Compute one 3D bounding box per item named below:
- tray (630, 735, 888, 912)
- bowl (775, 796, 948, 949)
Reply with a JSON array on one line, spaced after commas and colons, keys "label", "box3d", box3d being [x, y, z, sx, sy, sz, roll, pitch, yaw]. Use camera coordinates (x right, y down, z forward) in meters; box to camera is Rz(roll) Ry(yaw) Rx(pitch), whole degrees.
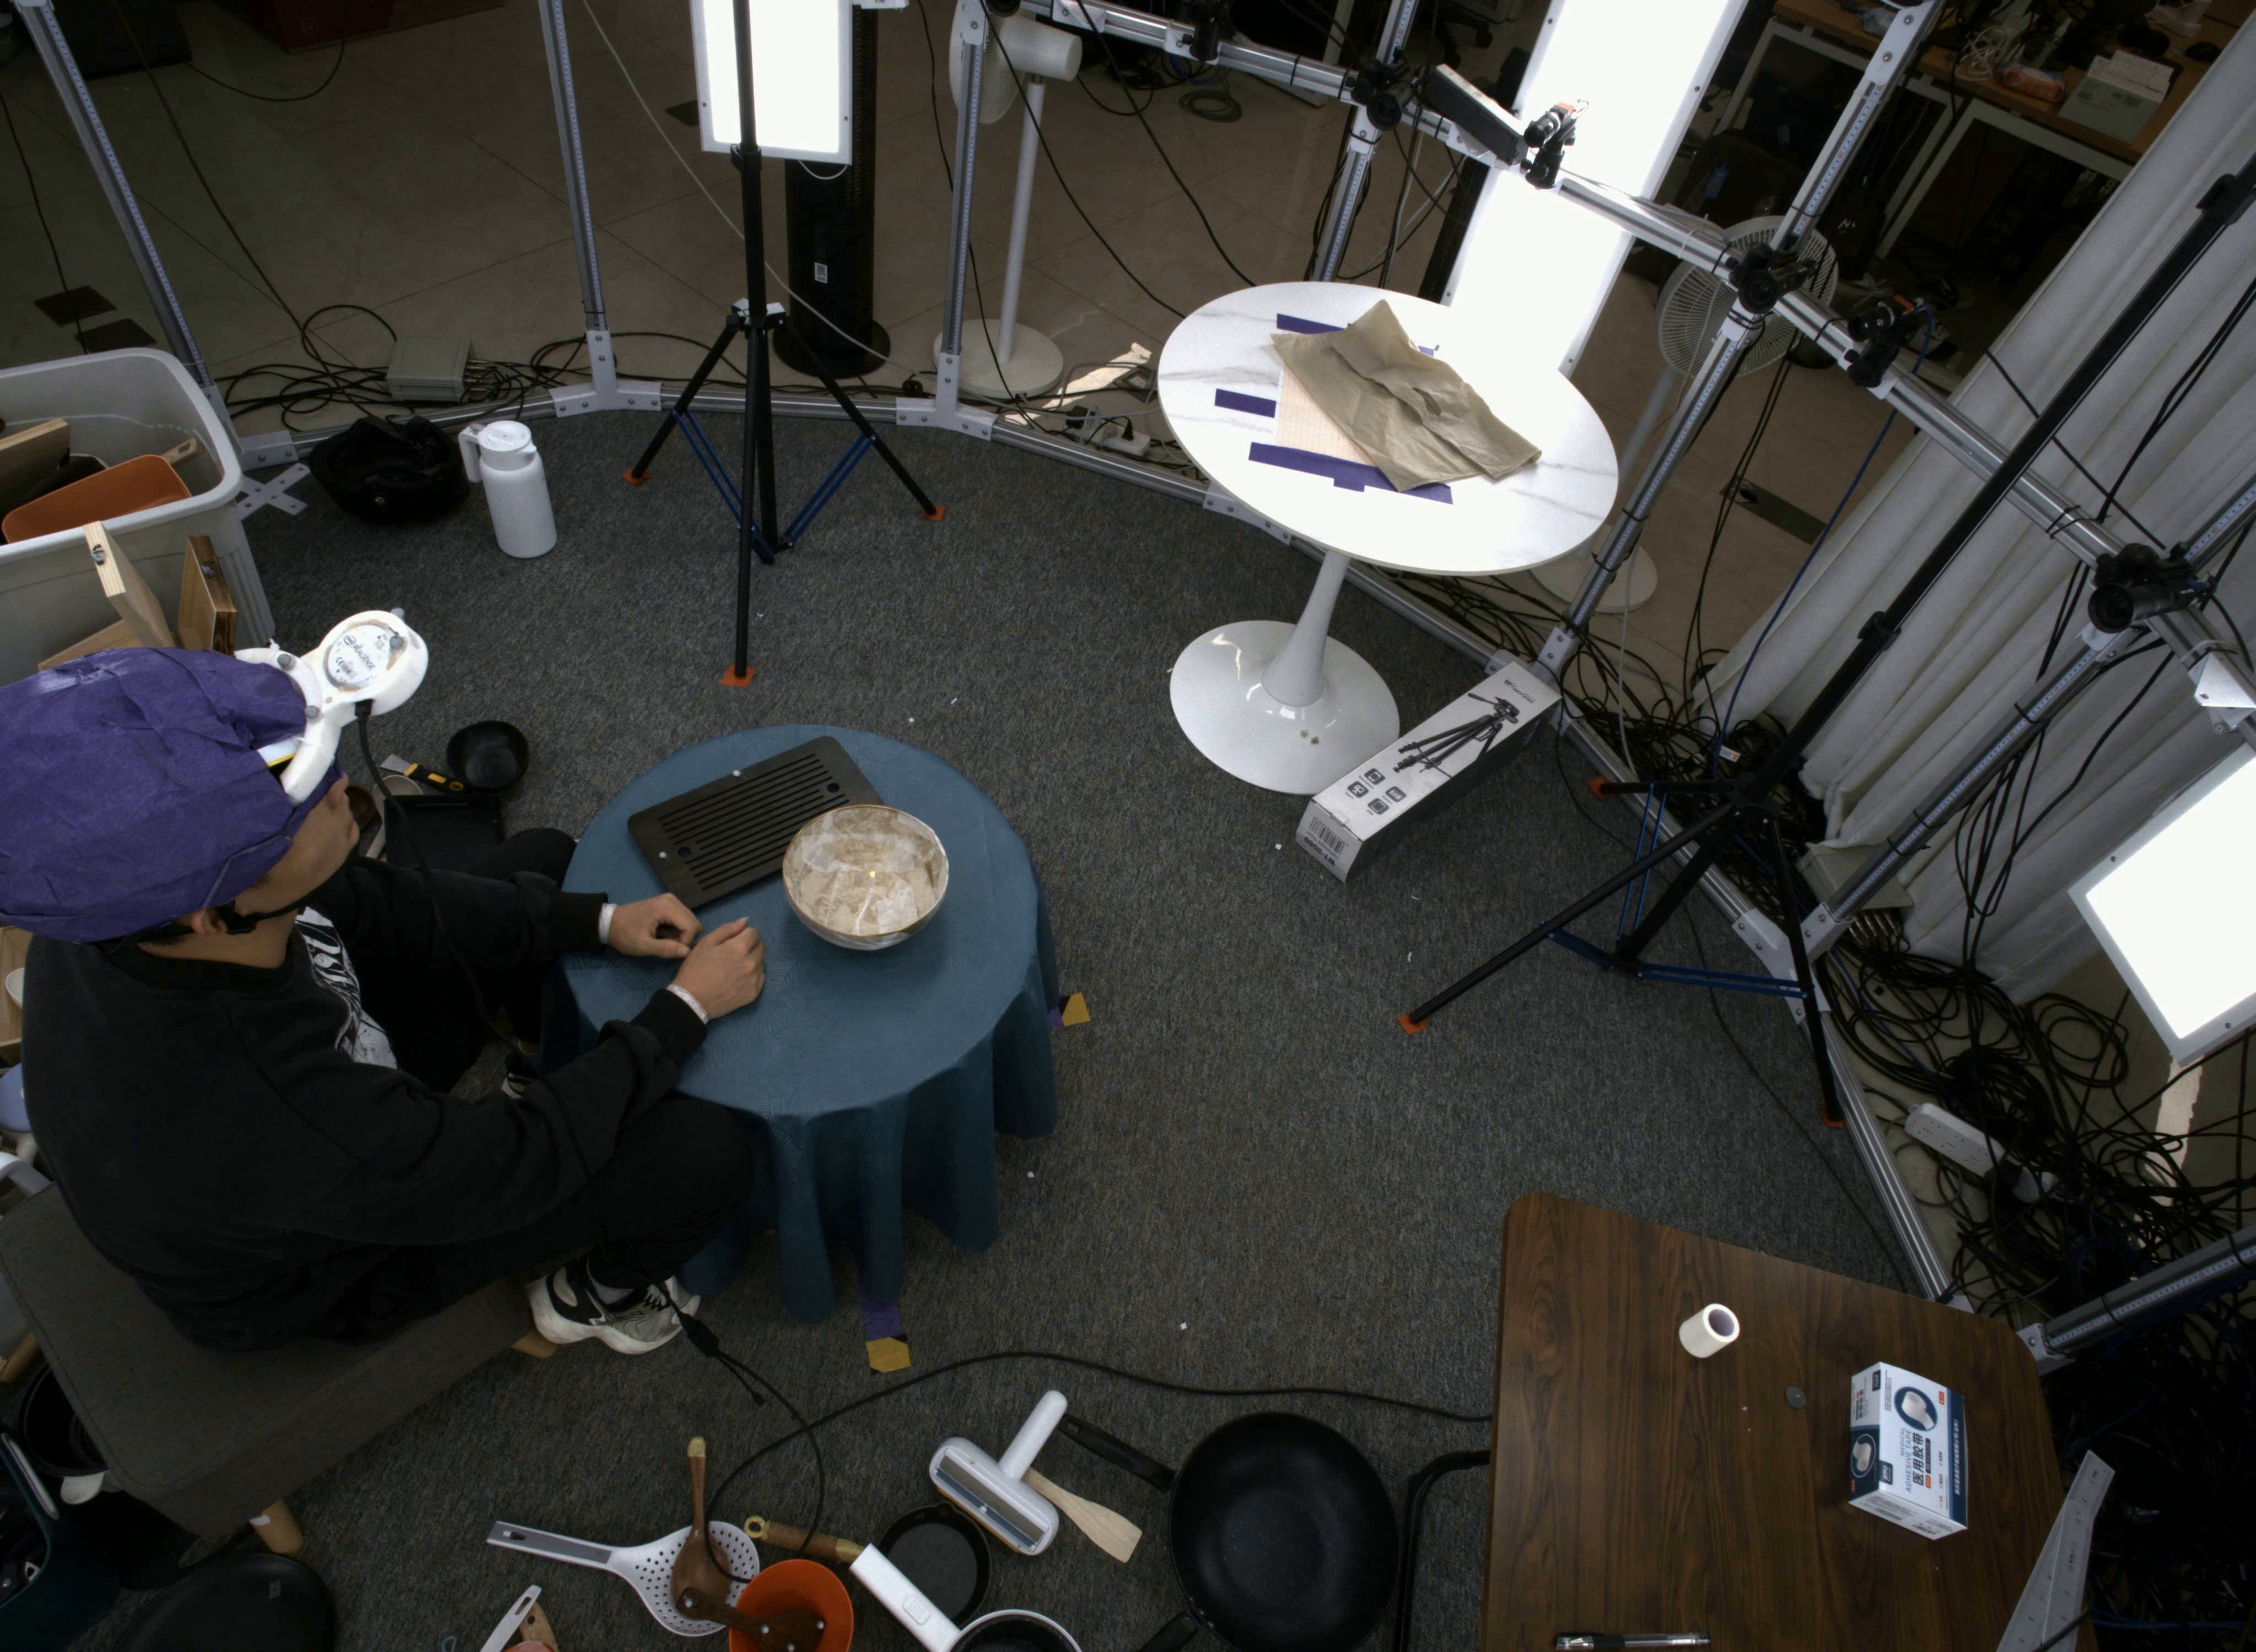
[{"label": "tray", "box3d": [-0.485, -0.009, 1.709, 0.307, 0.019, 0.166, -27, 65, -30]}, {"label": "bowl", "box3d": [-0.334, 0.075, 1.637, 0.214, 0.096, 0.211, 8, 53, -9]}]
